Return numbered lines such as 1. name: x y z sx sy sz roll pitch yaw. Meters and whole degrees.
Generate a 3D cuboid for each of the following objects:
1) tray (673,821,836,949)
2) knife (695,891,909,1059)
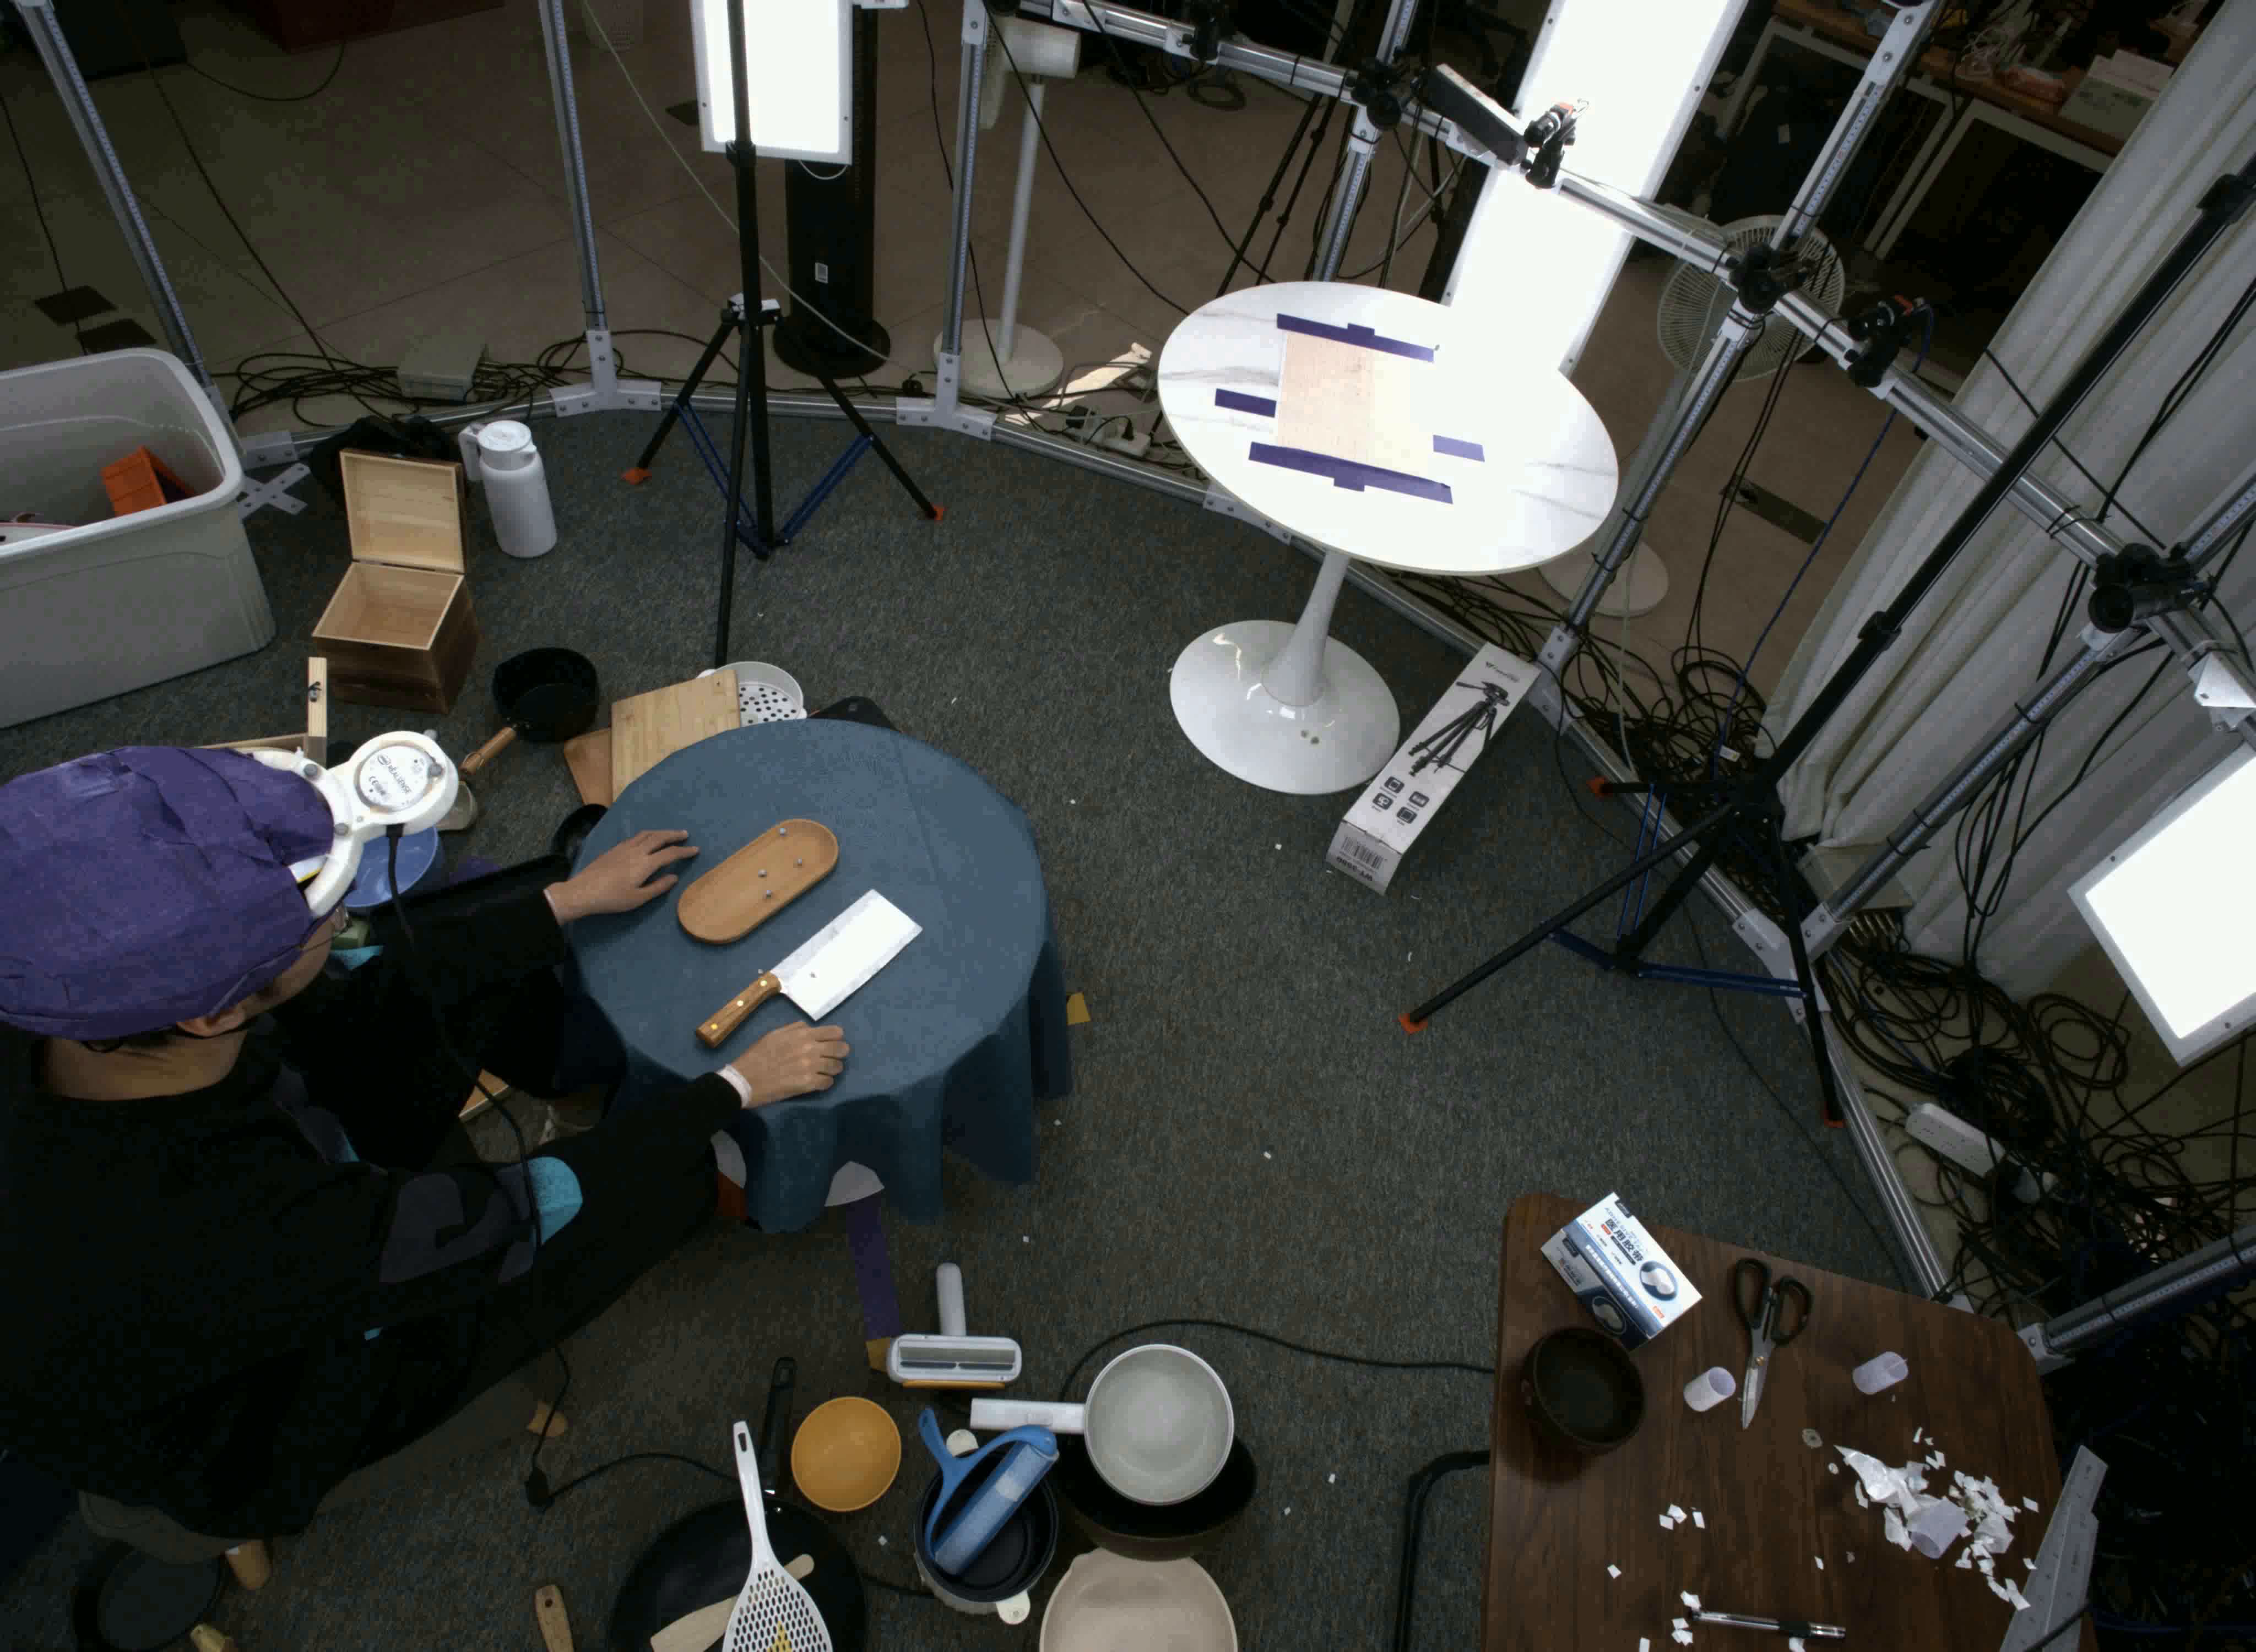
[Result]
1. tray: -0.470 0.071 1.637 0.099 0.021 0.231 38 55 16
2. knife: -0.385 0.186 1.575 0.091 0.021 0.306 37 51 12
